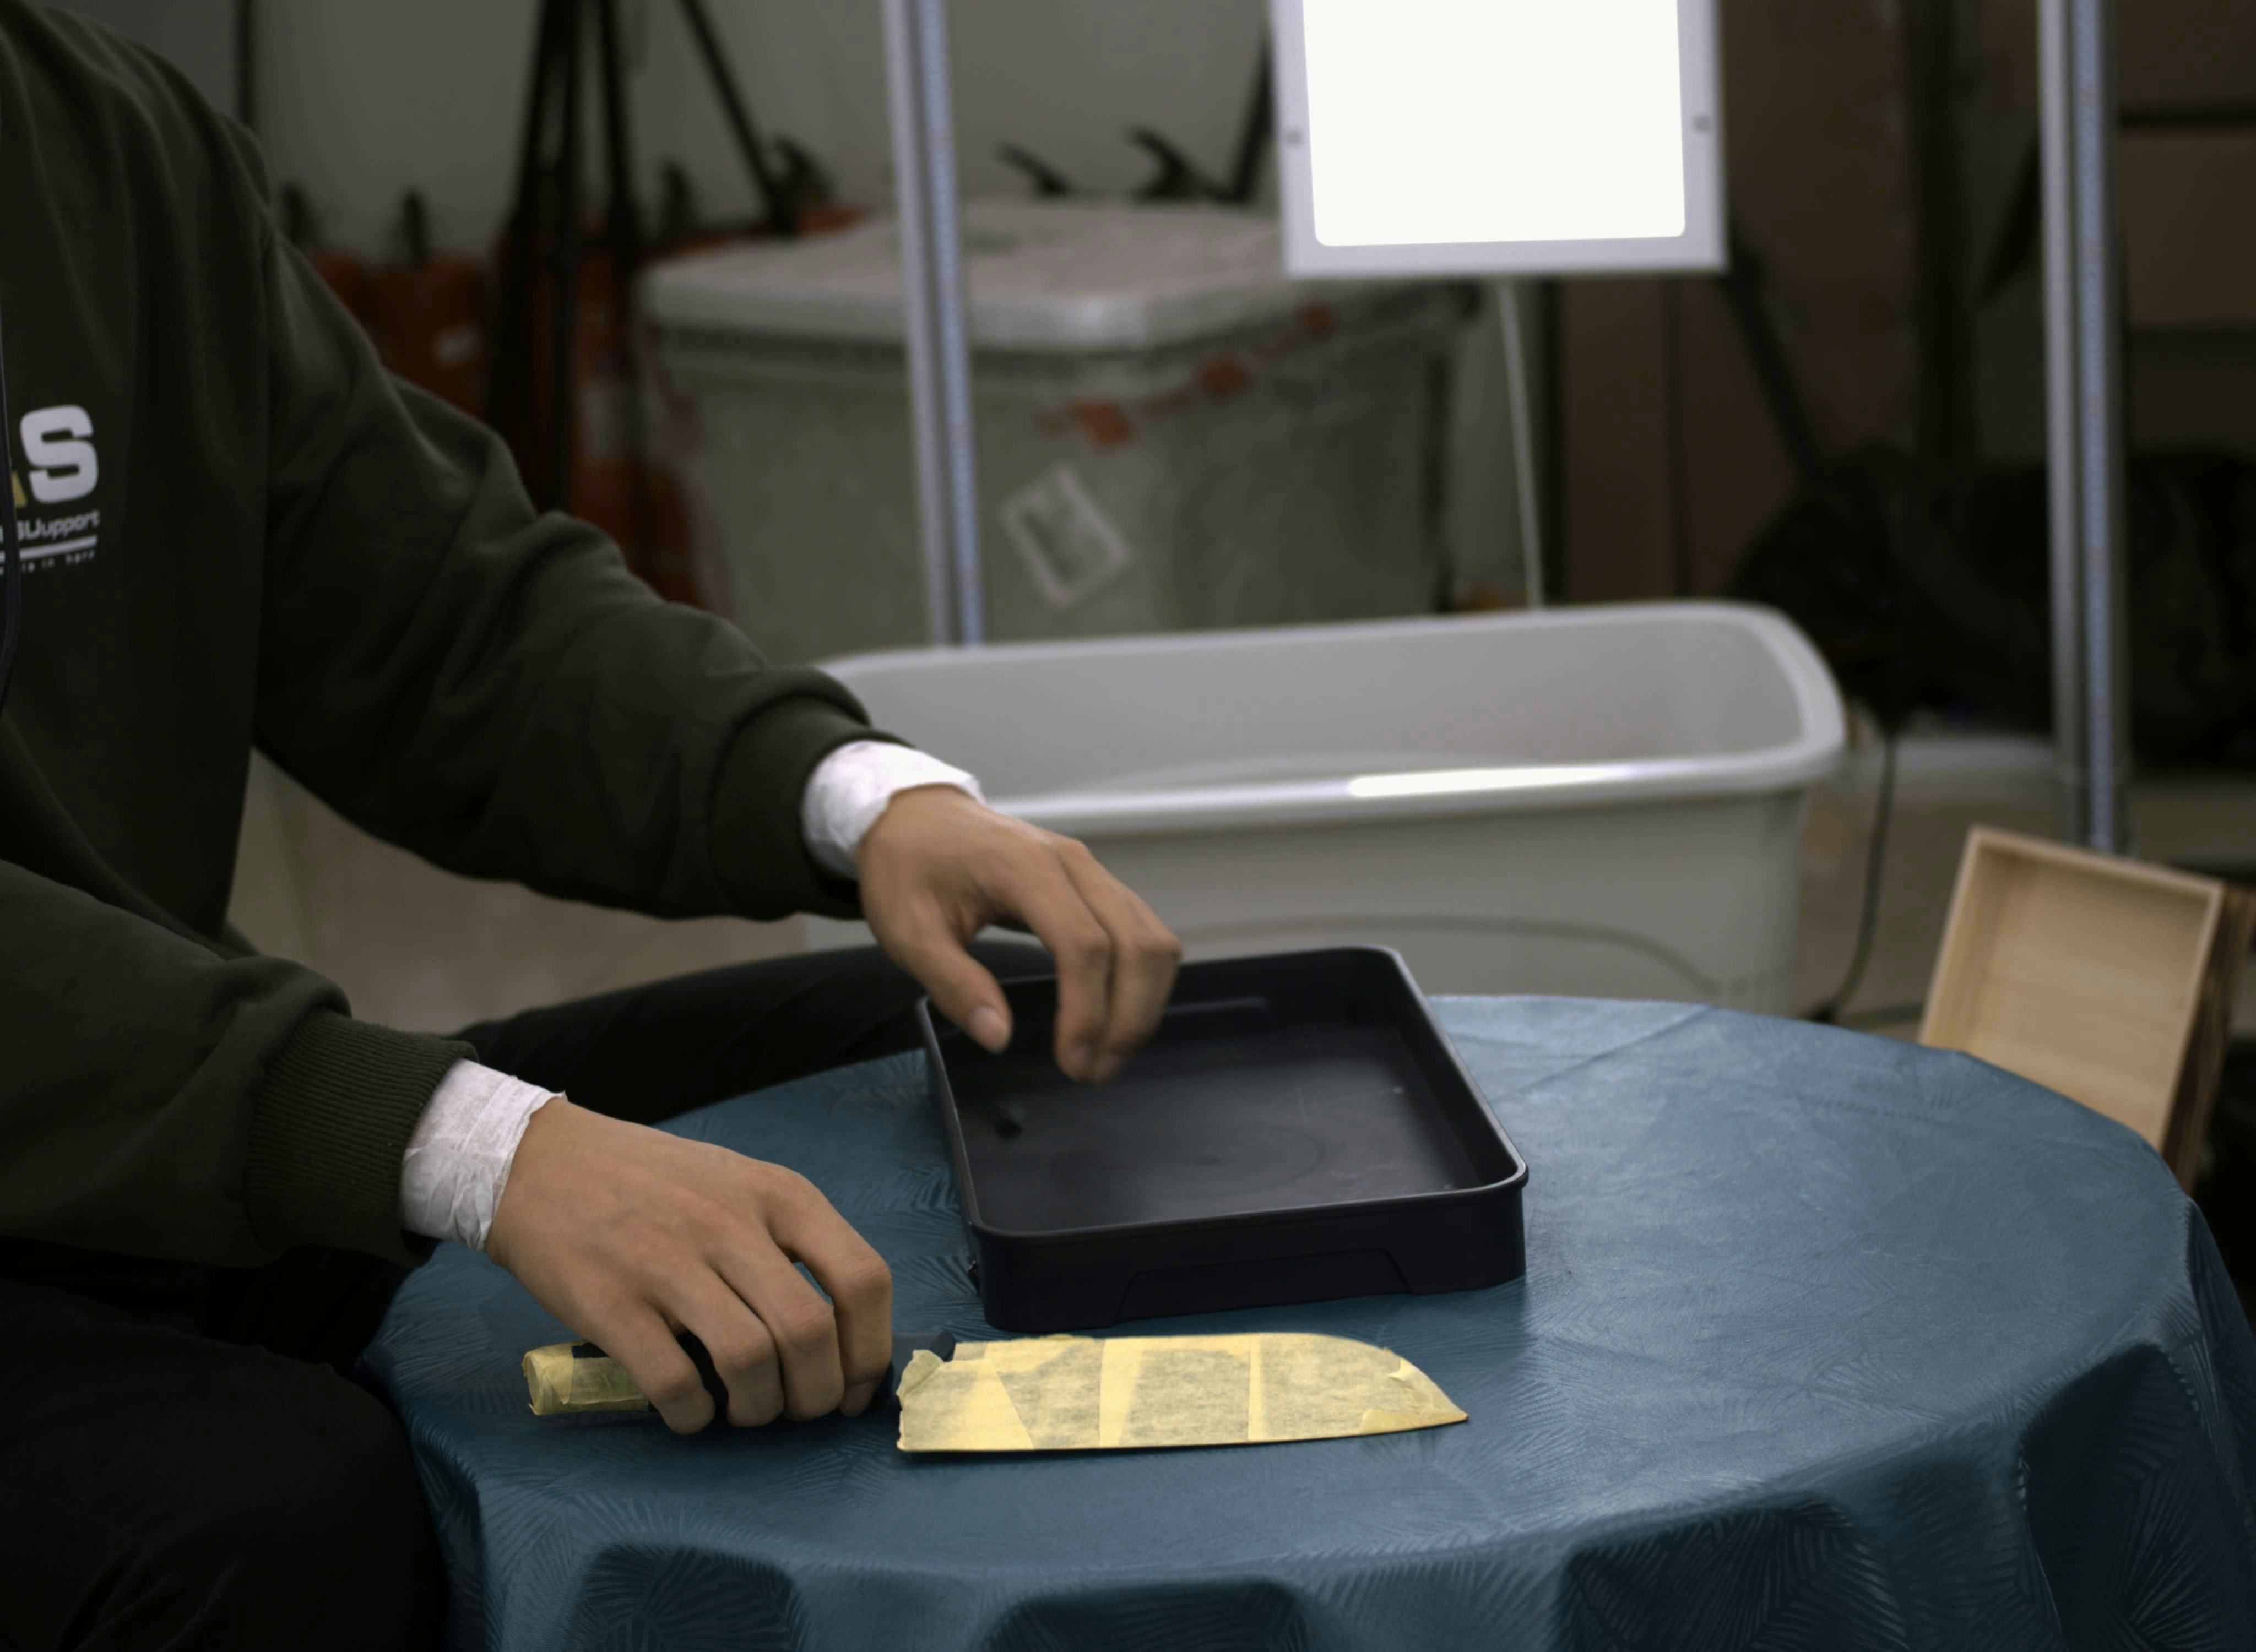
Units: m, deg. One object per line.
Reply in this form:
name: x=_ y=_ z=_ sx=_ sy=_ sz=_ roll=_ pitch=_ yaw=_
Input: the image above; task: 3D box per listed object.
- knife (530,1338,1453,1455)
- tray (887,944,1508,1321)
knife: x=-0.044 y=0.176 z=1.688 sx=0.291 sy=0.027 sz=0.080 roll=-3 pitch=17 yaw=9
tray: x=0.018 y=0.102 z=1.914 sx=0.183 sy=0.037 sz=0.318 roll=-5 pitch=14 yaw=-5
